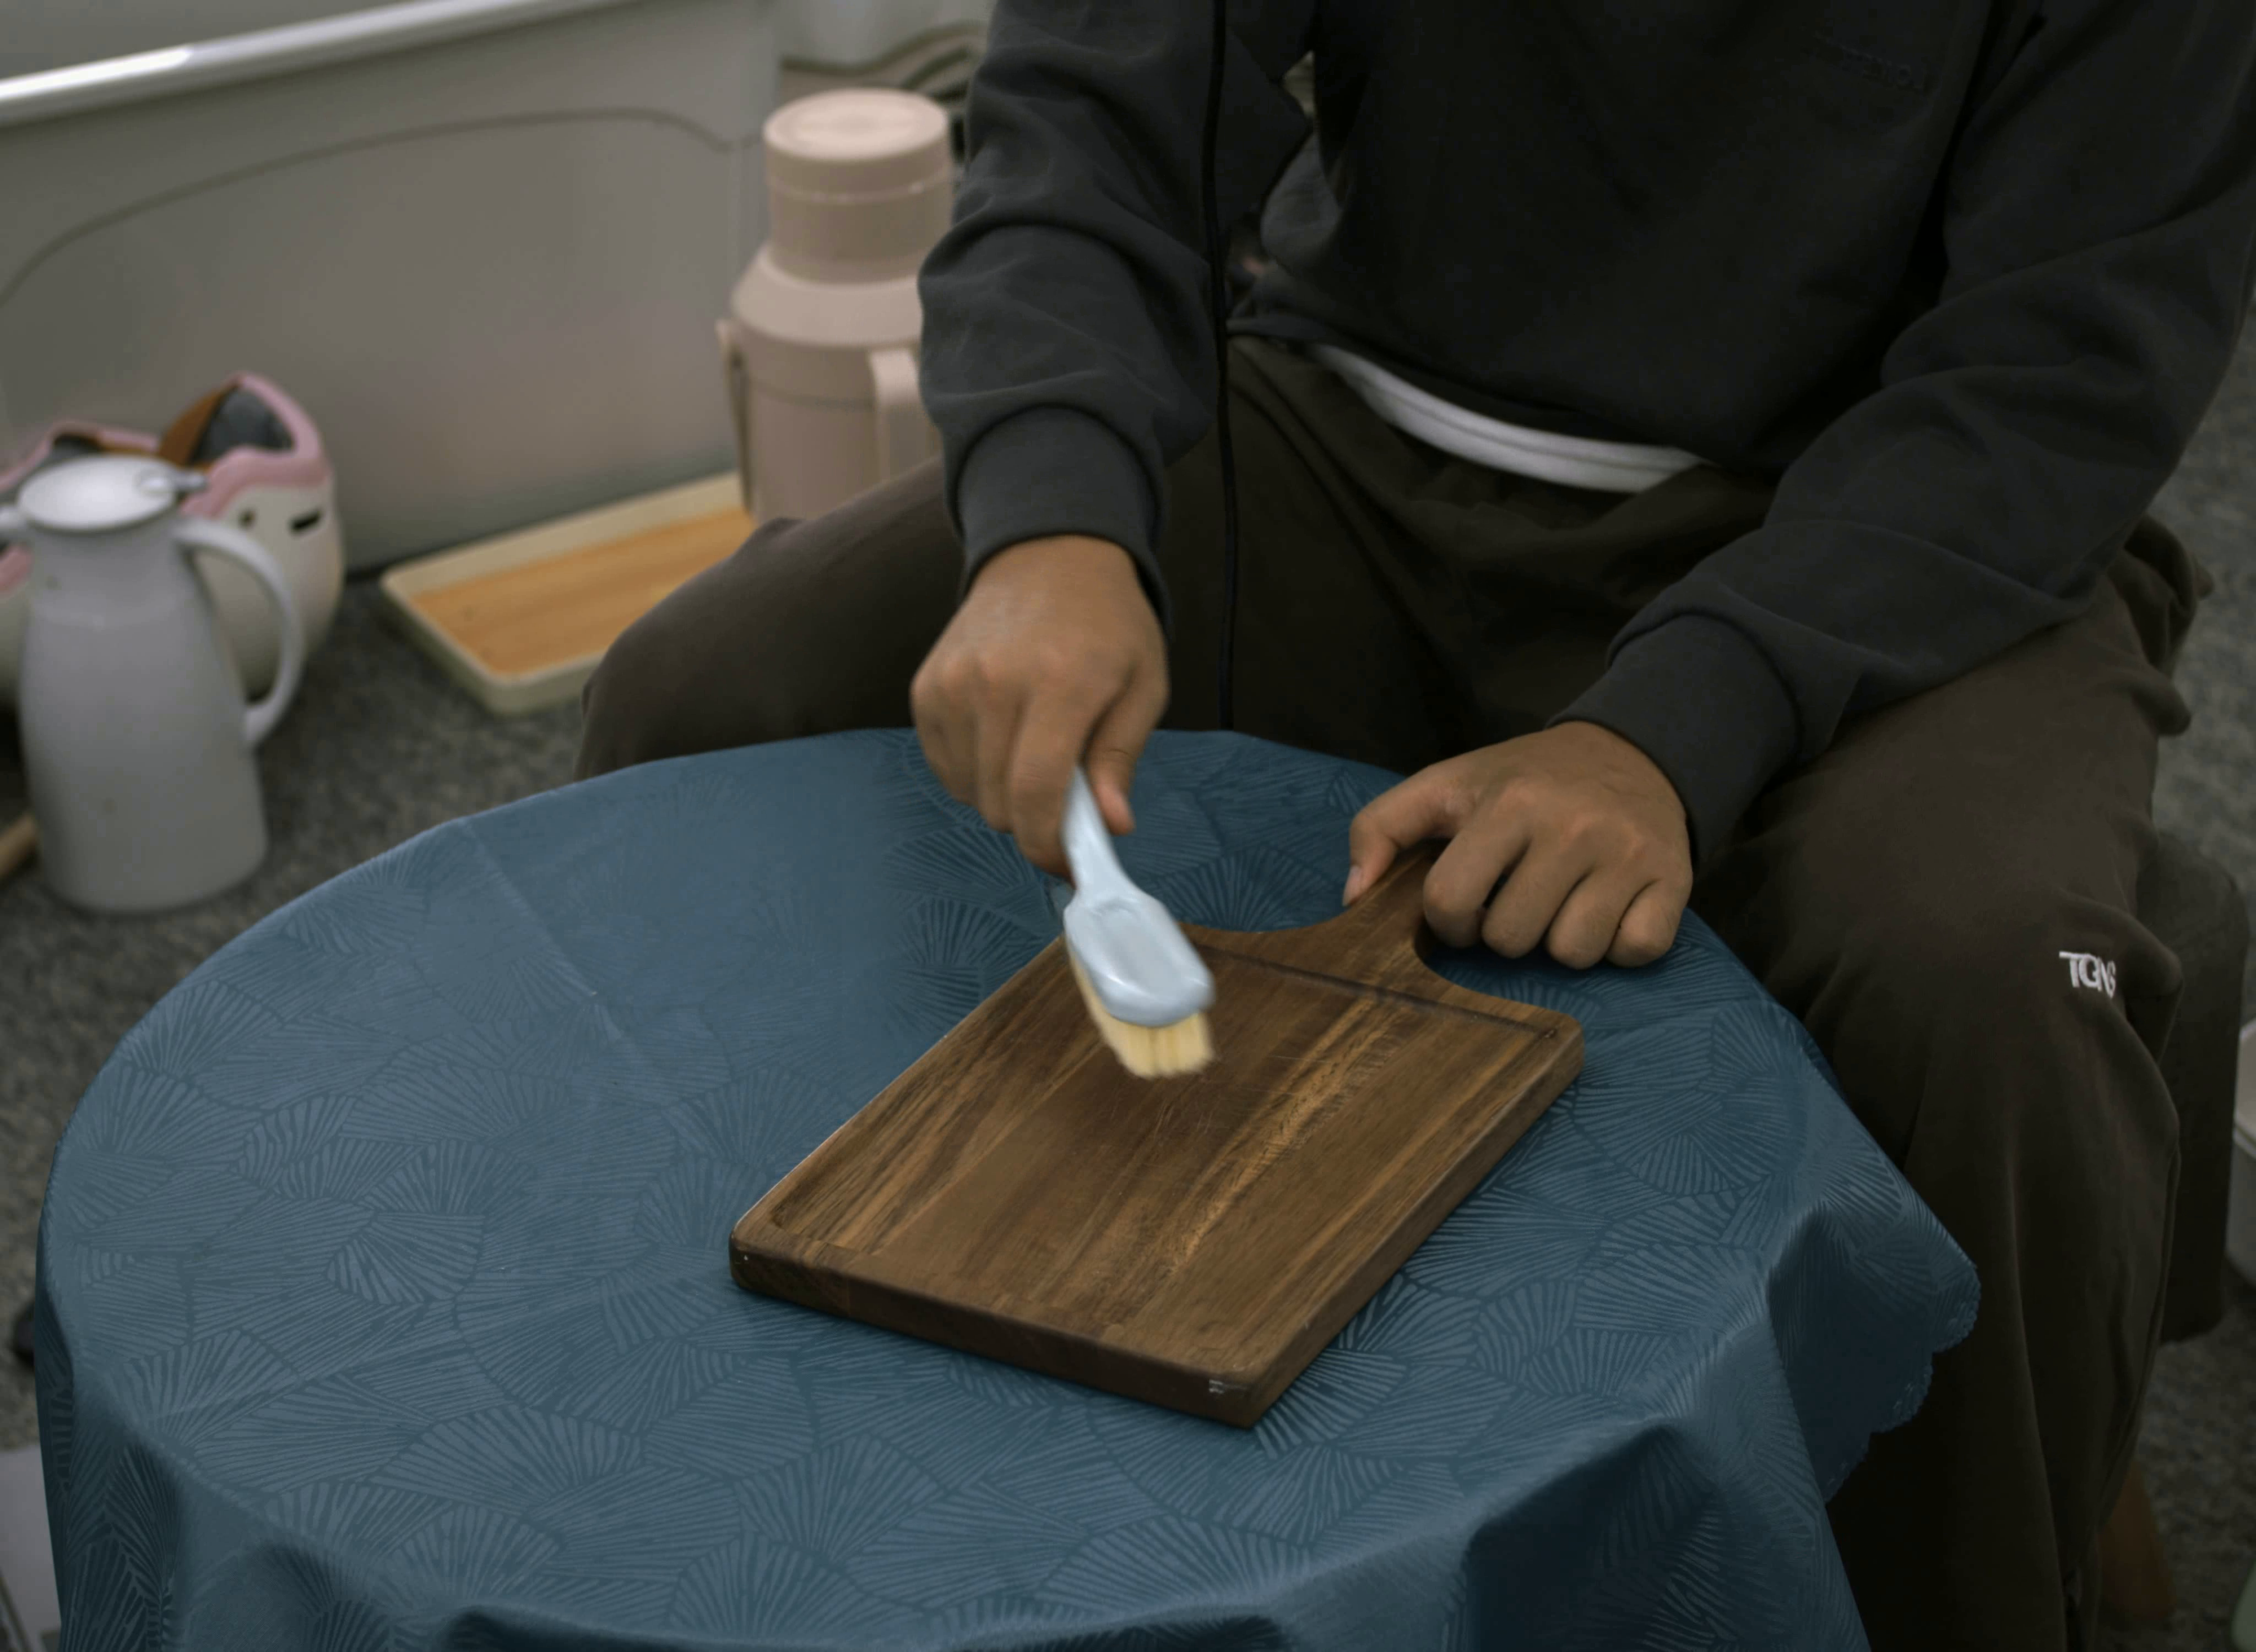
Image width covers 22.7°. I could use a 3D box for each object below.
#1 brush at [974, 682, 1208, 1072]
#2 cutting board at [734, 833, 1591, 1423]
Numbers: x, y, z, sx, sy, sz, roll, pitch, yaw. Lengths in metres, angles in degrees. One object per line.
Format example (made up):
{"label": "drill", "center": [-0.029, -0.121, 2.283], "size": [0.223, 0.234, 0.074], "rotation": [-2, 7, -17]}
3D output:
{"label": "brush", "center": [-0.017, 0.014, 1.923], "size": [0.038, 0.049, 0.231], "rotation": [-12, 34, -11]}
{"label": "cutting board", "center": [0.039, 0.086, 1.907], "size": [0.200, 0.023, 0.358], "rotation": [13, 31, 27]}
